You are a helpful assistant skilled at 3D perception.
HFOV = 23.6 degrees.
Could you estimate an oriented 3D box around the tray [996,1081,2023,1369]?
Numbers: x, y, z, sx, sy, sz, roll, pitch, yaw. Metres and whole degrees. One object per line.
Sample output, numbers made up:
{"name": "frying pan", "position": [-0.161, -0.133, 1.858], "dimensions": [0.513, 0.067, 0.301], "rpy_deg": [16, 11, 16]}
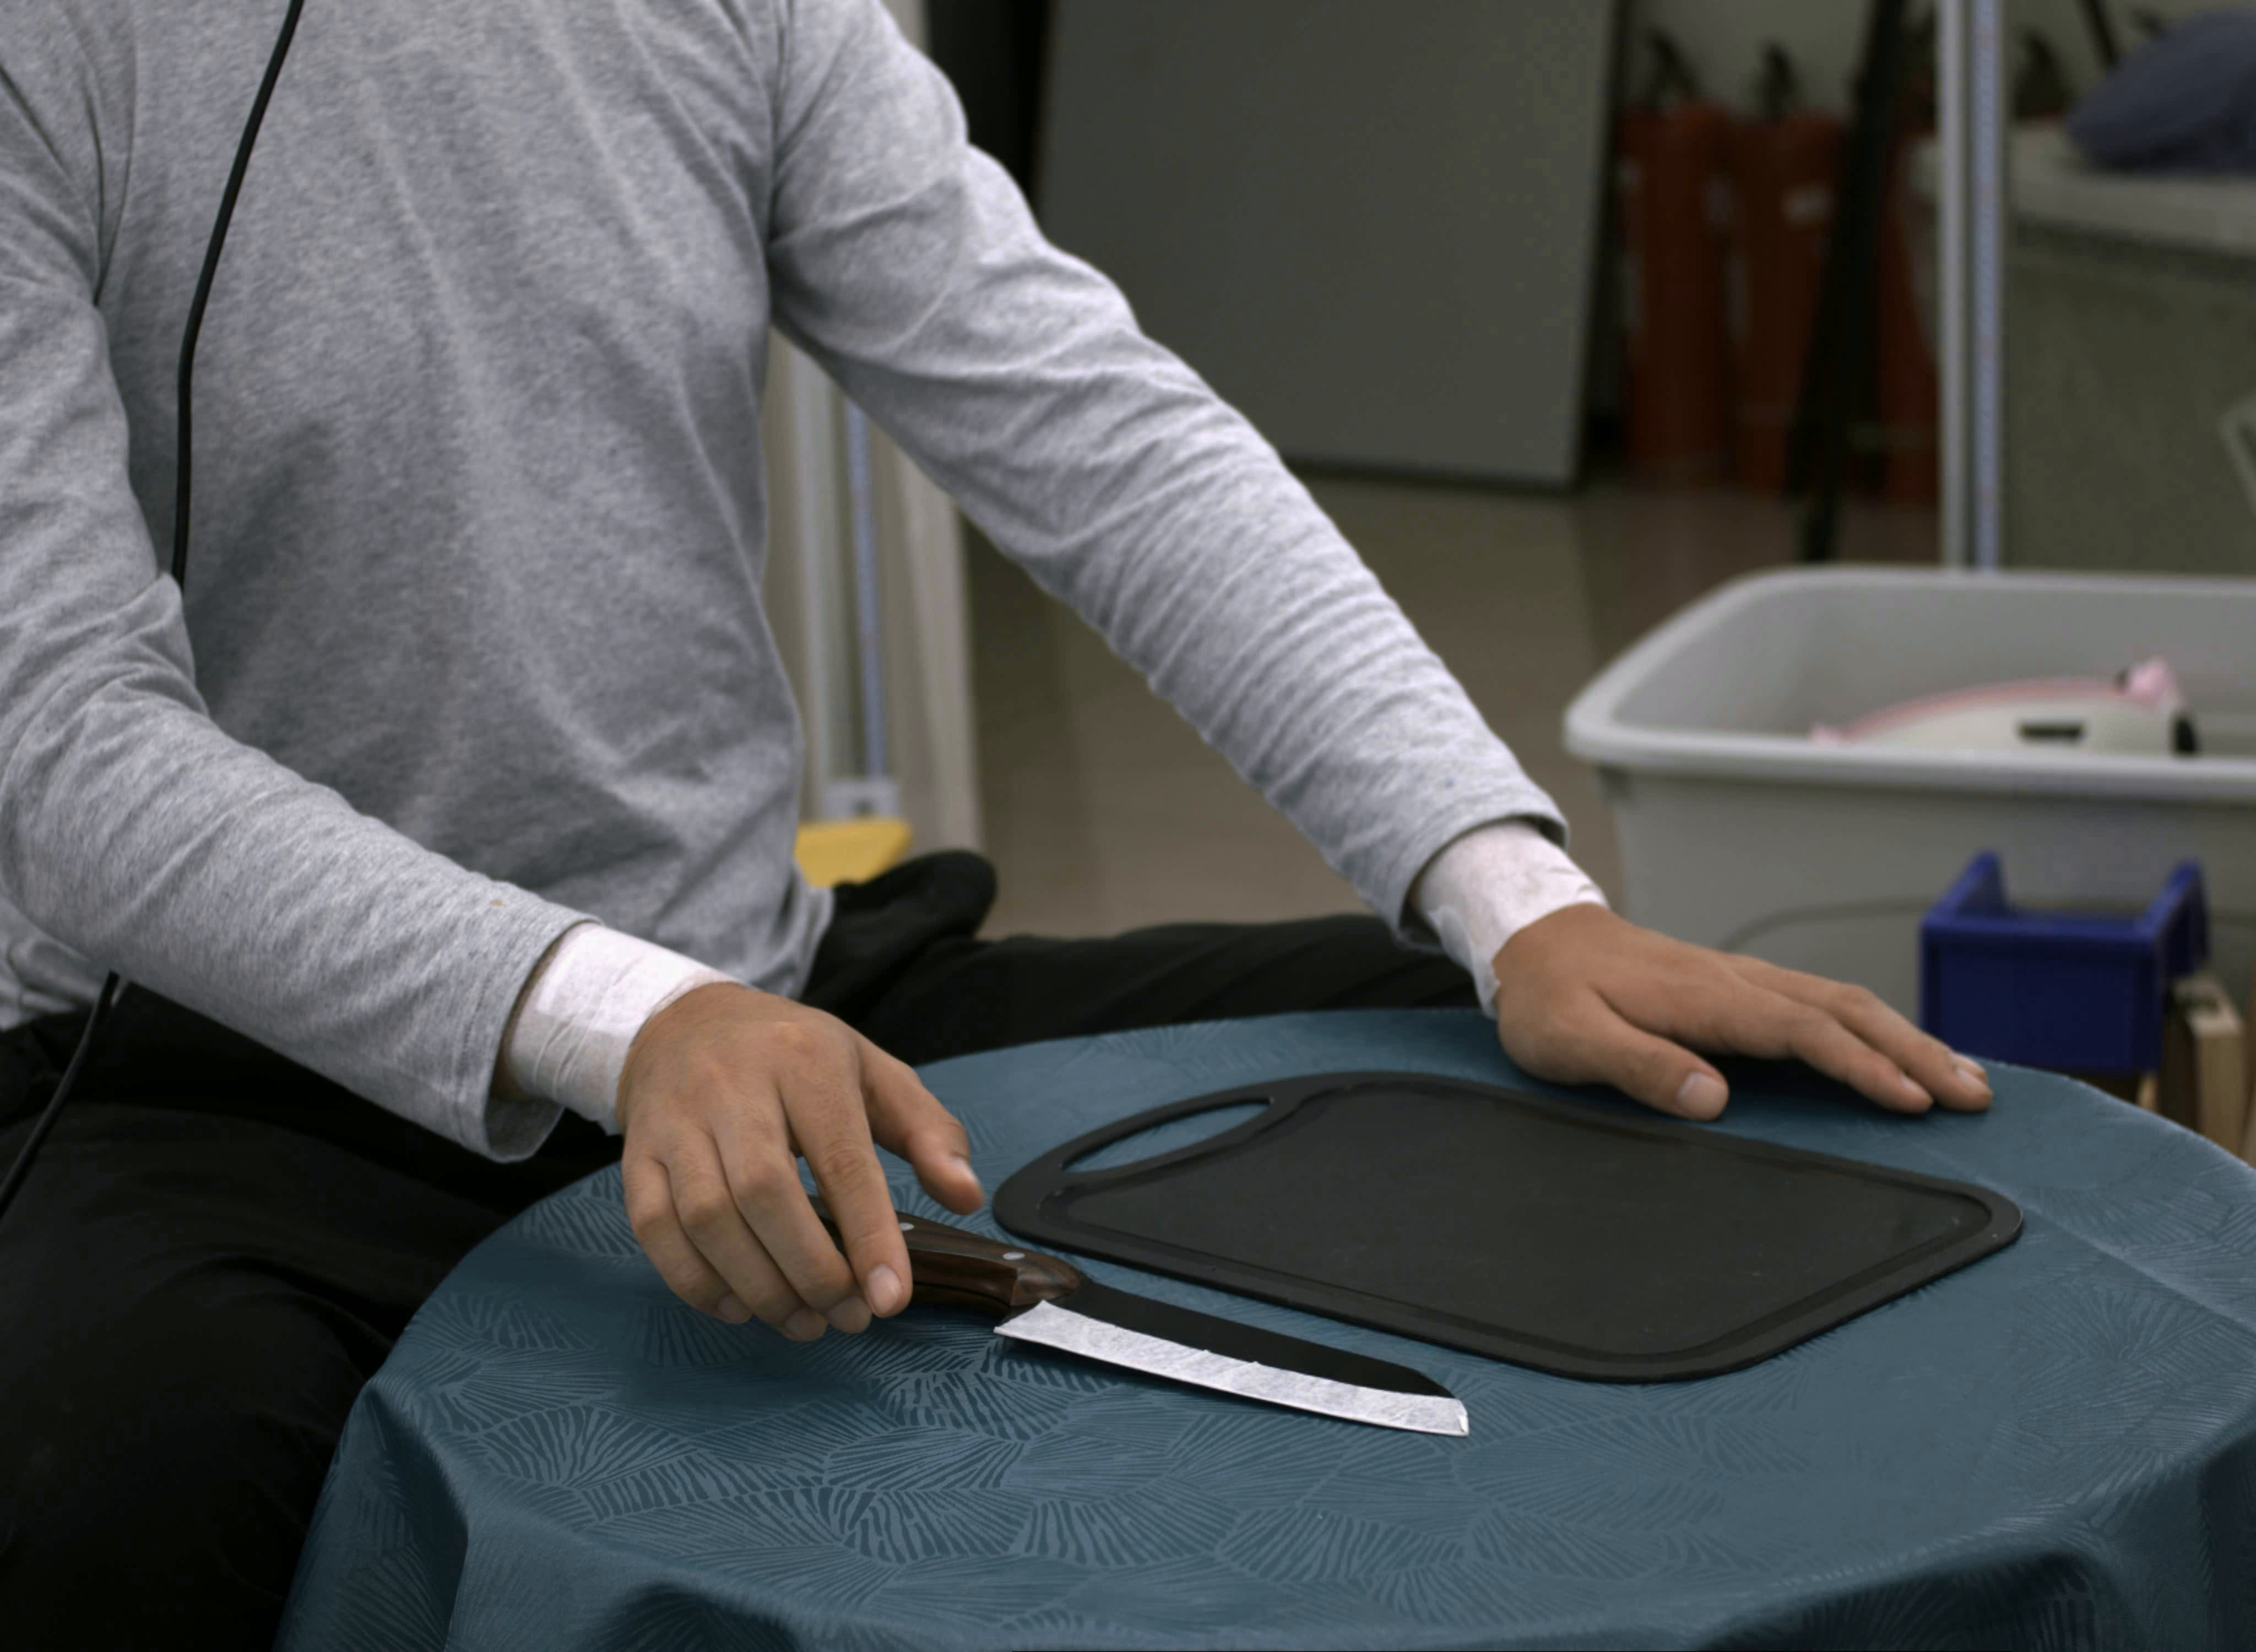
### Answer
{"name": "tray", "position": [0.112, 0.122, 1.727], "dimensions": [0.207, 0.010, 0.328], "rpy_deg": [-16, 18, -42]}

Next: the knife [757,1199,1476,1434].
{"name": "knife", "position": [-0.008, 0.150, 1.628], "dimensions": [0.291, 0.020, 0.049], "rpy_deg": [11, 25, 41]}
